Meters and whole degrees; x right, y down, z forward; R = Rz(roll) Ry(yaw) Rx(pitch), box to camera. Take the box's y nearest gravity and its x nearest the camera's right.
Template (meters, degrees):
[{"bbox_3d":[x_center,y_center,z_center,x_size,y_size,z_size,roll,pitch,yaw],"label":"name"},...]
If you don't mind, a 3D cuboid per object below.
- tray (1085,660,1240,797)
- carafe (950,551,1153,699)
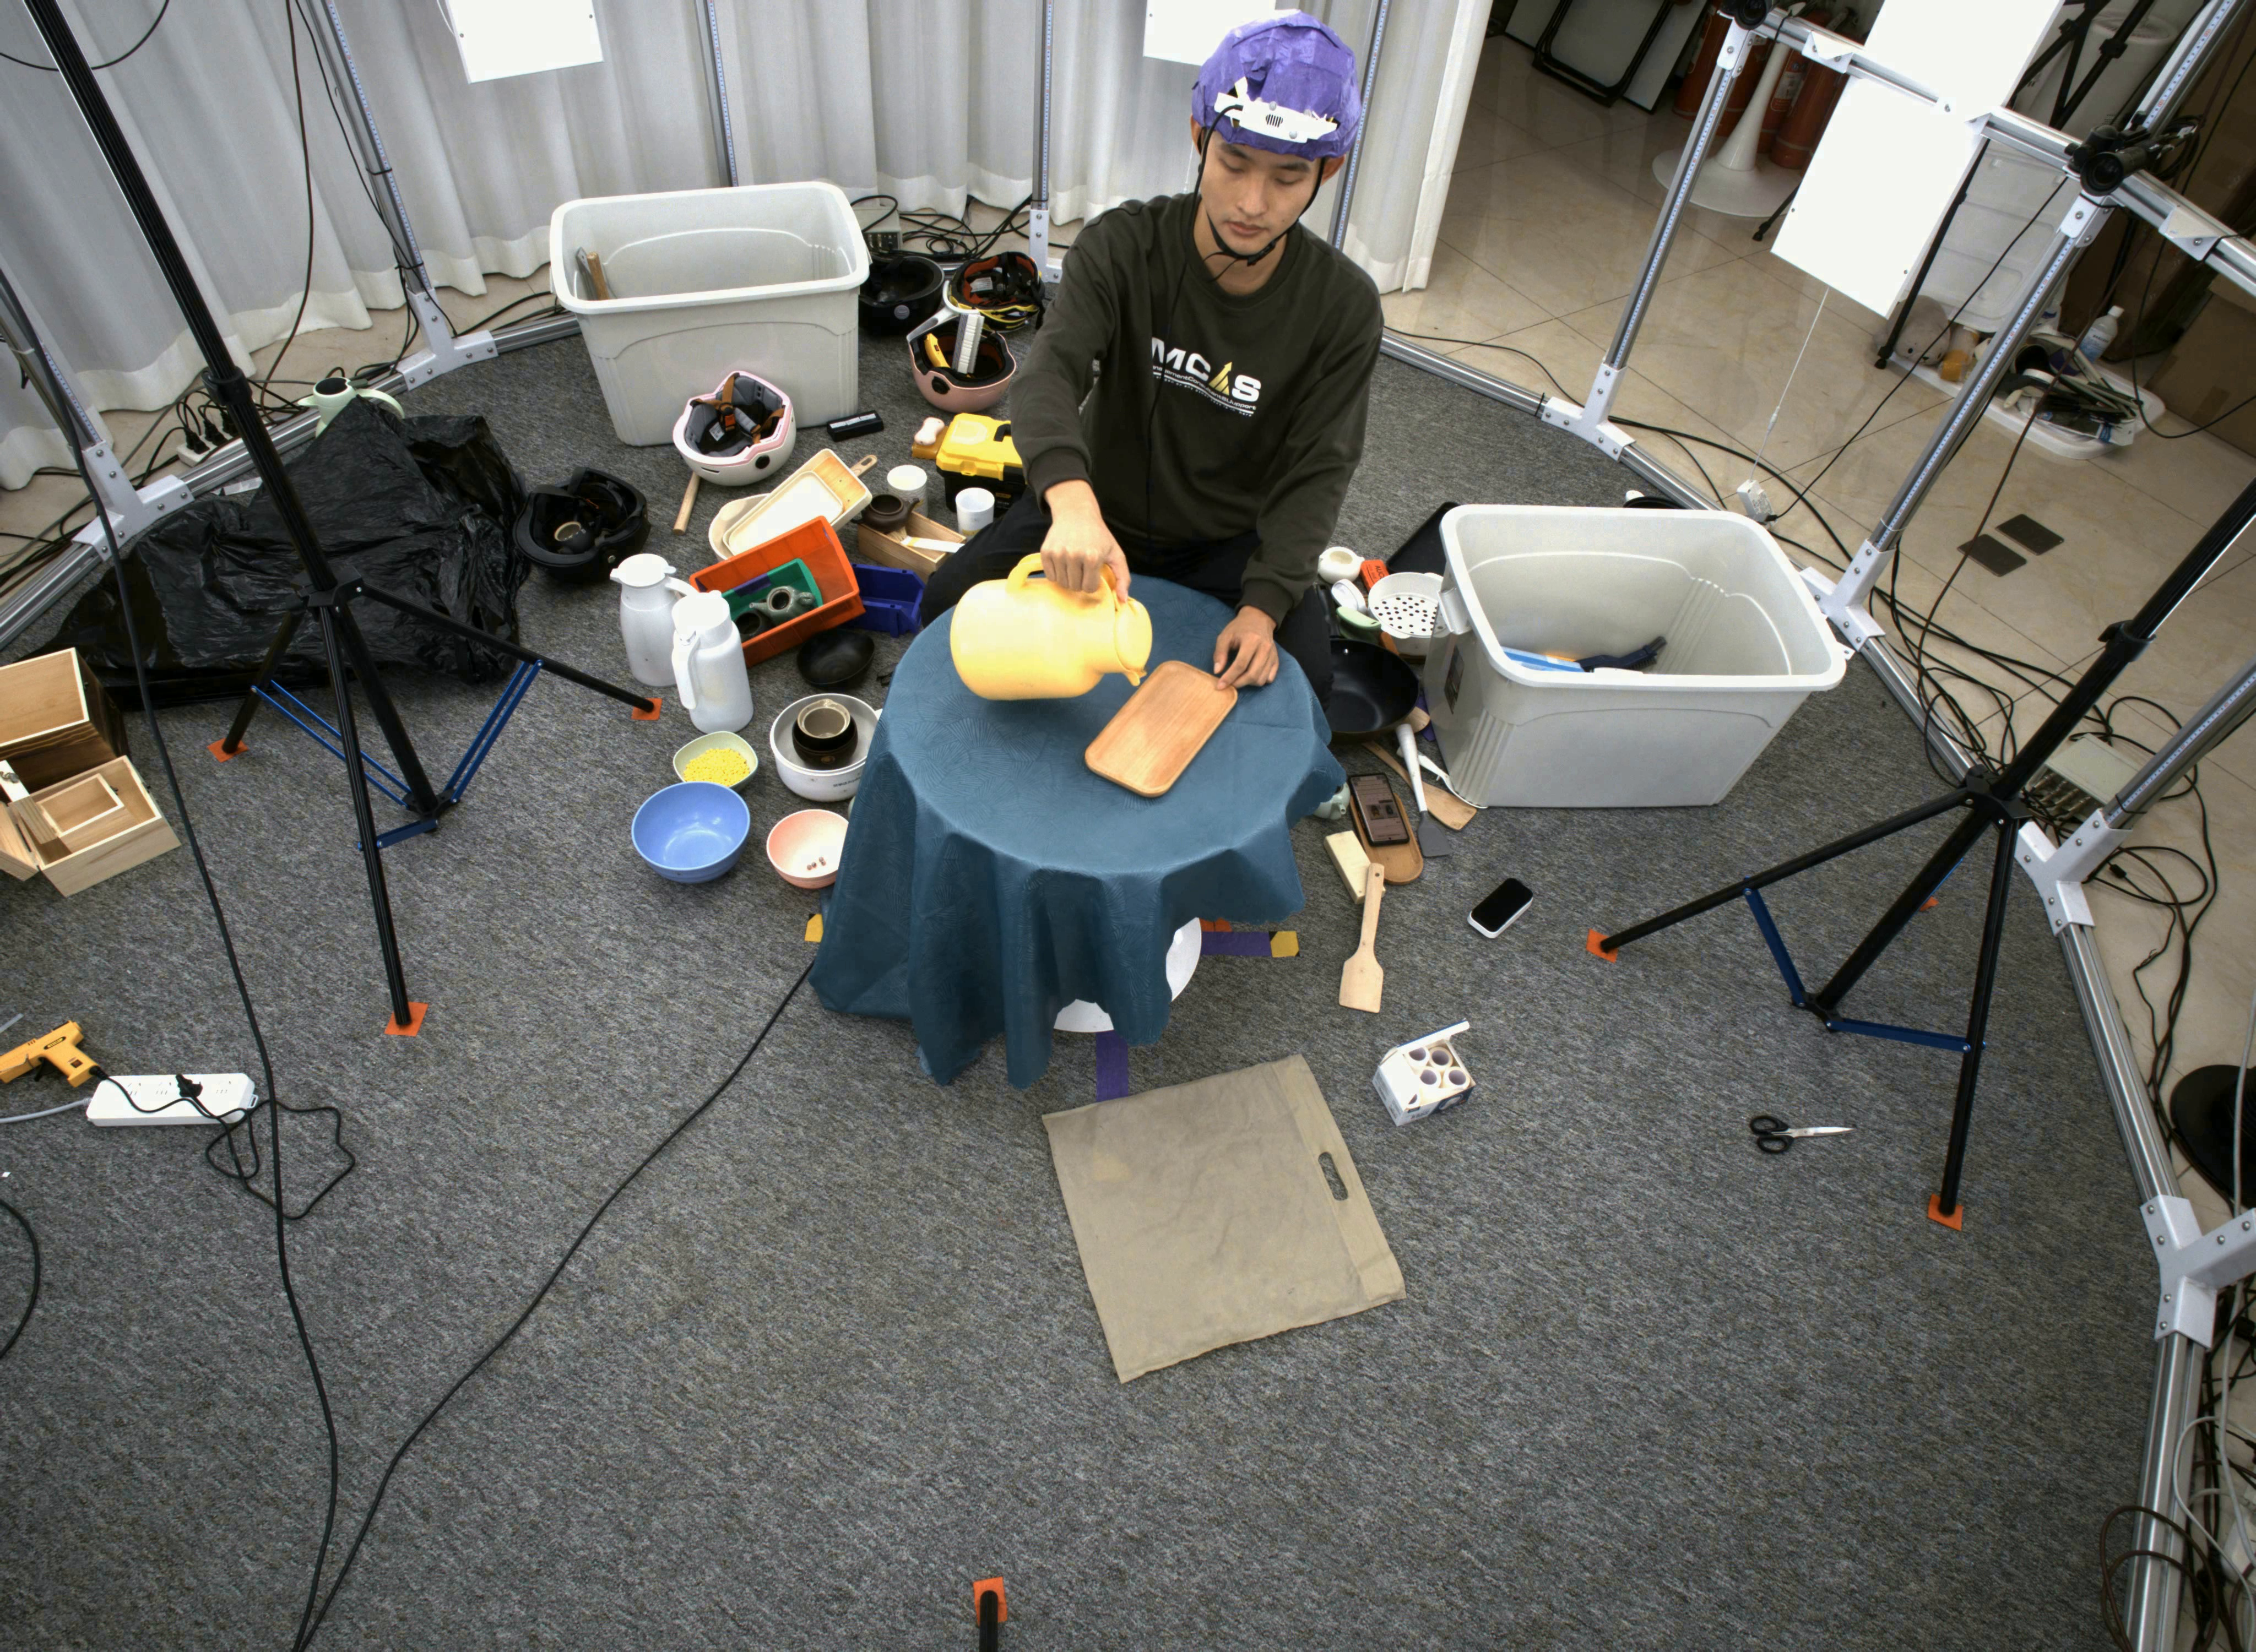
[{"bbox_3d":[0.050,-0.138,1.777,0.131,0.022,0.254,28,52,16],"label":"tray"},{"bbox_3d":[-0.101,-0.267,1.701,0.261,0.198,0.166,2,37,26],"label":"carafe"}]
